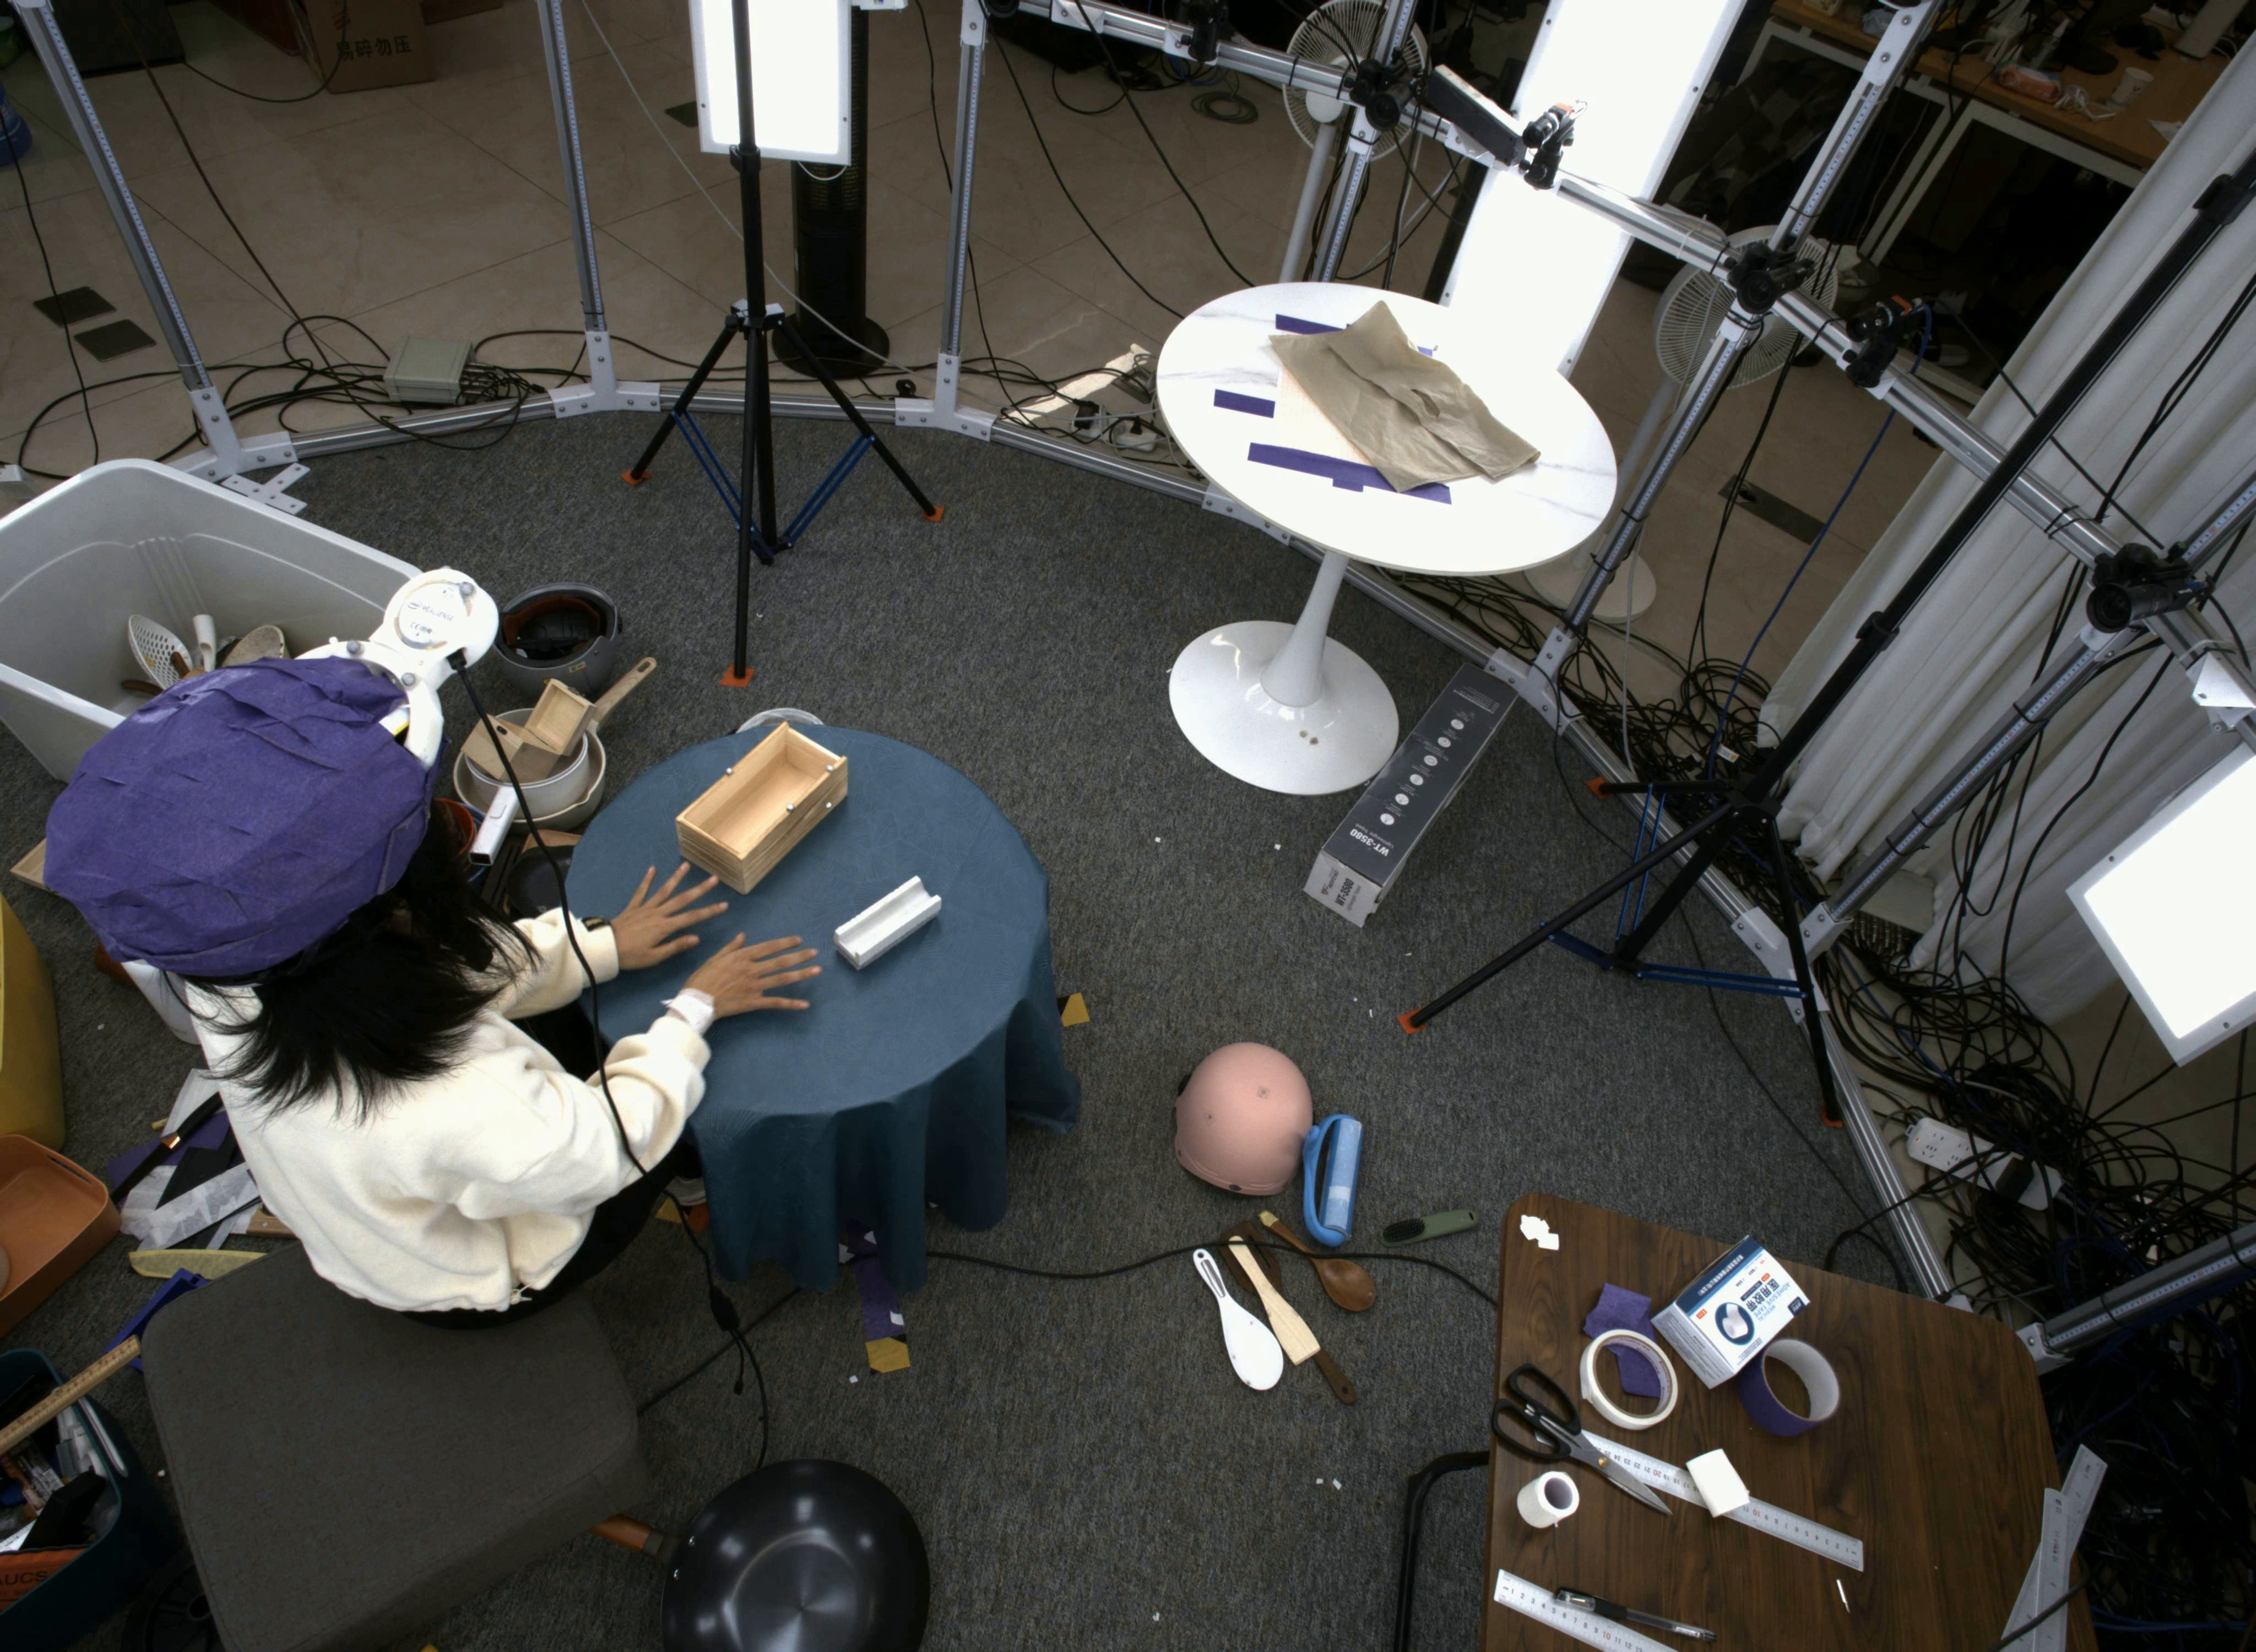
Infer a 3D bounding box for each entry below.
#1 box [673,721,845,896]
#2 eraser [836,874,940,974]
[{"bbox_3d":[-0.474,-0.026,1.674,0.106,0.082,0.210,29,51,10],"label":"box"},{"bbox_3d":[-0.300,0.121,1.631,0.049,0.047,0.134,39,53,15],"label":"eraser"}]
